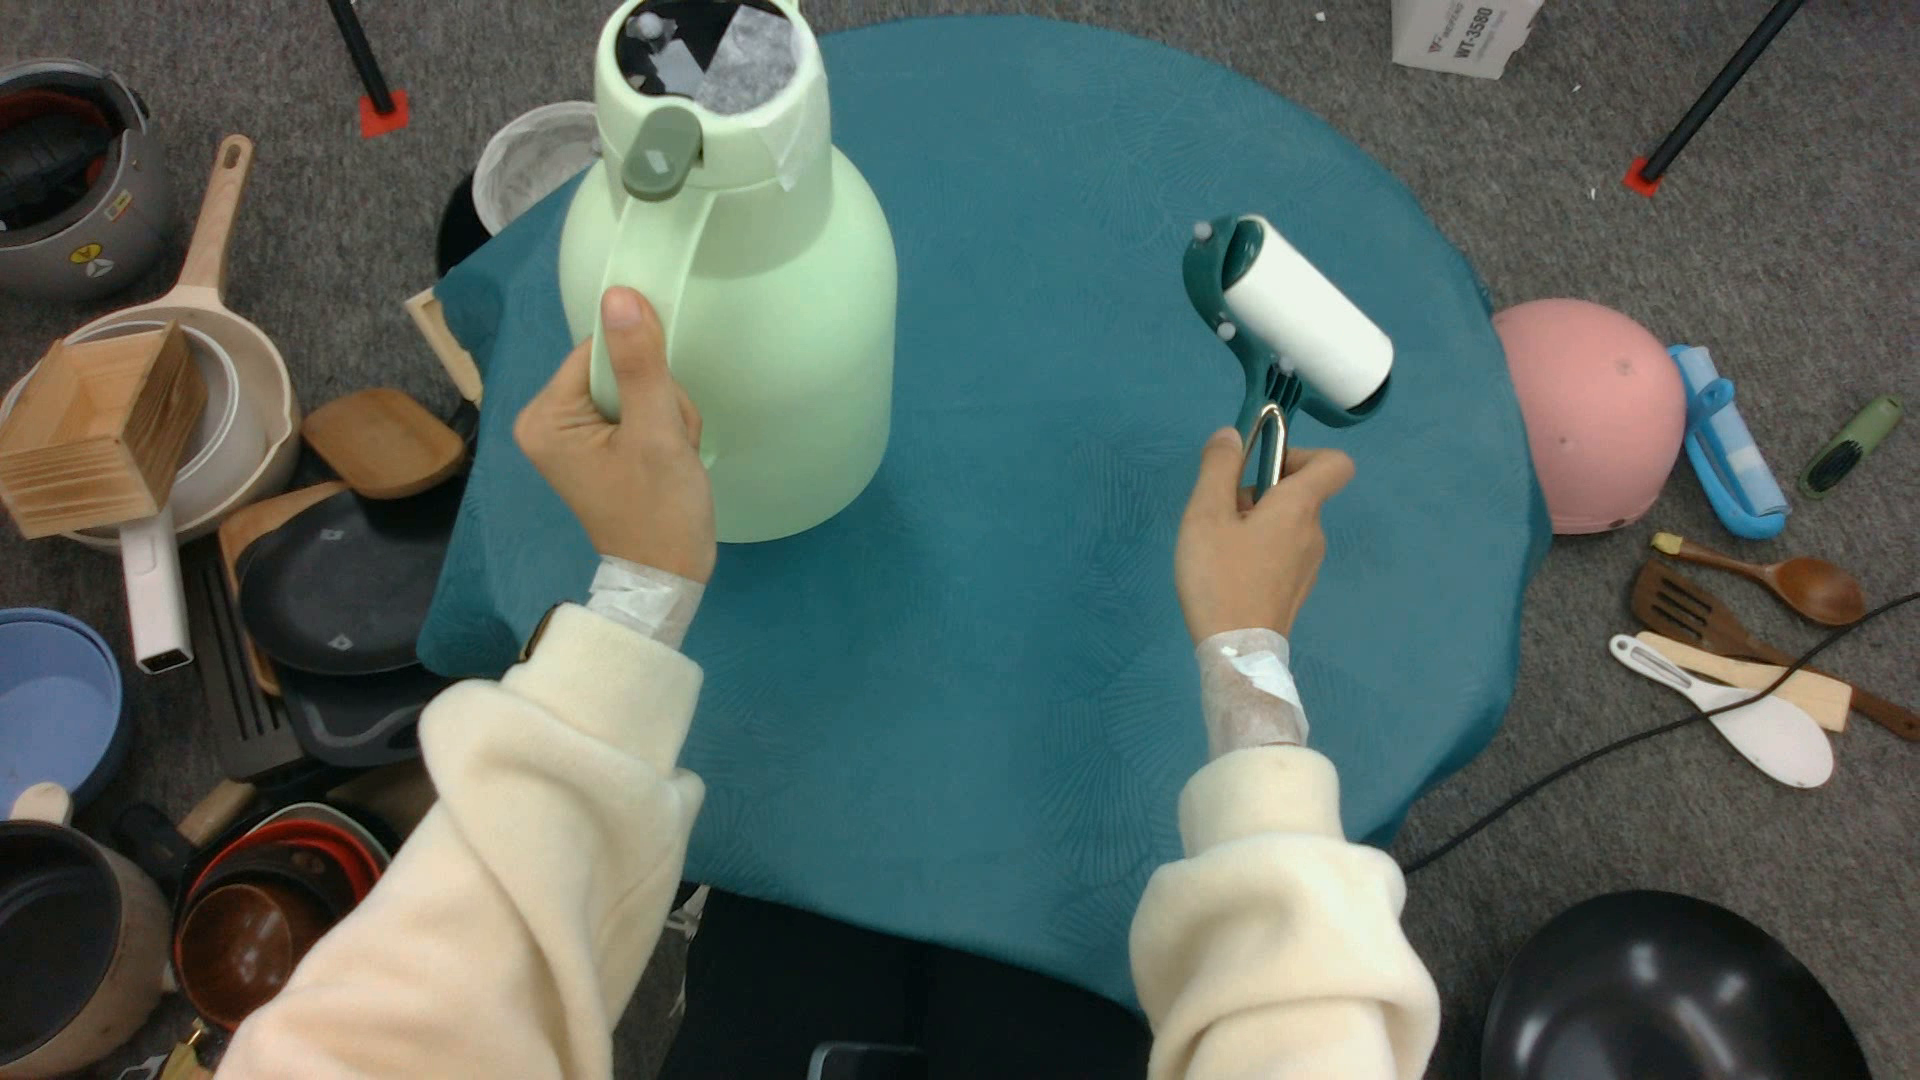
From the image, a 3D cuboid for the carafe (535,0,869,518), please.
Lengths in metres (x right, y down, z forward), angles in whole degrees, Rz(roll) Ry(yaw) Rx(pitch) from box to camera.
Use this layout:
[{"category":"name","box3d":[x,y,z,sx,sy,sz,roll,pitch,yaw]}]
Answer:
[{"category":"carafe","box3d":[-0.113,-0.110,0.586,0.144,0.255,0.187,16,66,-1]}]

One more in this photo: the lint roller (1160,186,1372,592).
[{"category":"lint roller","box3d":[0.137,-0.060,0.641,0.134,0.048,0.181,32,56,-28]}]
